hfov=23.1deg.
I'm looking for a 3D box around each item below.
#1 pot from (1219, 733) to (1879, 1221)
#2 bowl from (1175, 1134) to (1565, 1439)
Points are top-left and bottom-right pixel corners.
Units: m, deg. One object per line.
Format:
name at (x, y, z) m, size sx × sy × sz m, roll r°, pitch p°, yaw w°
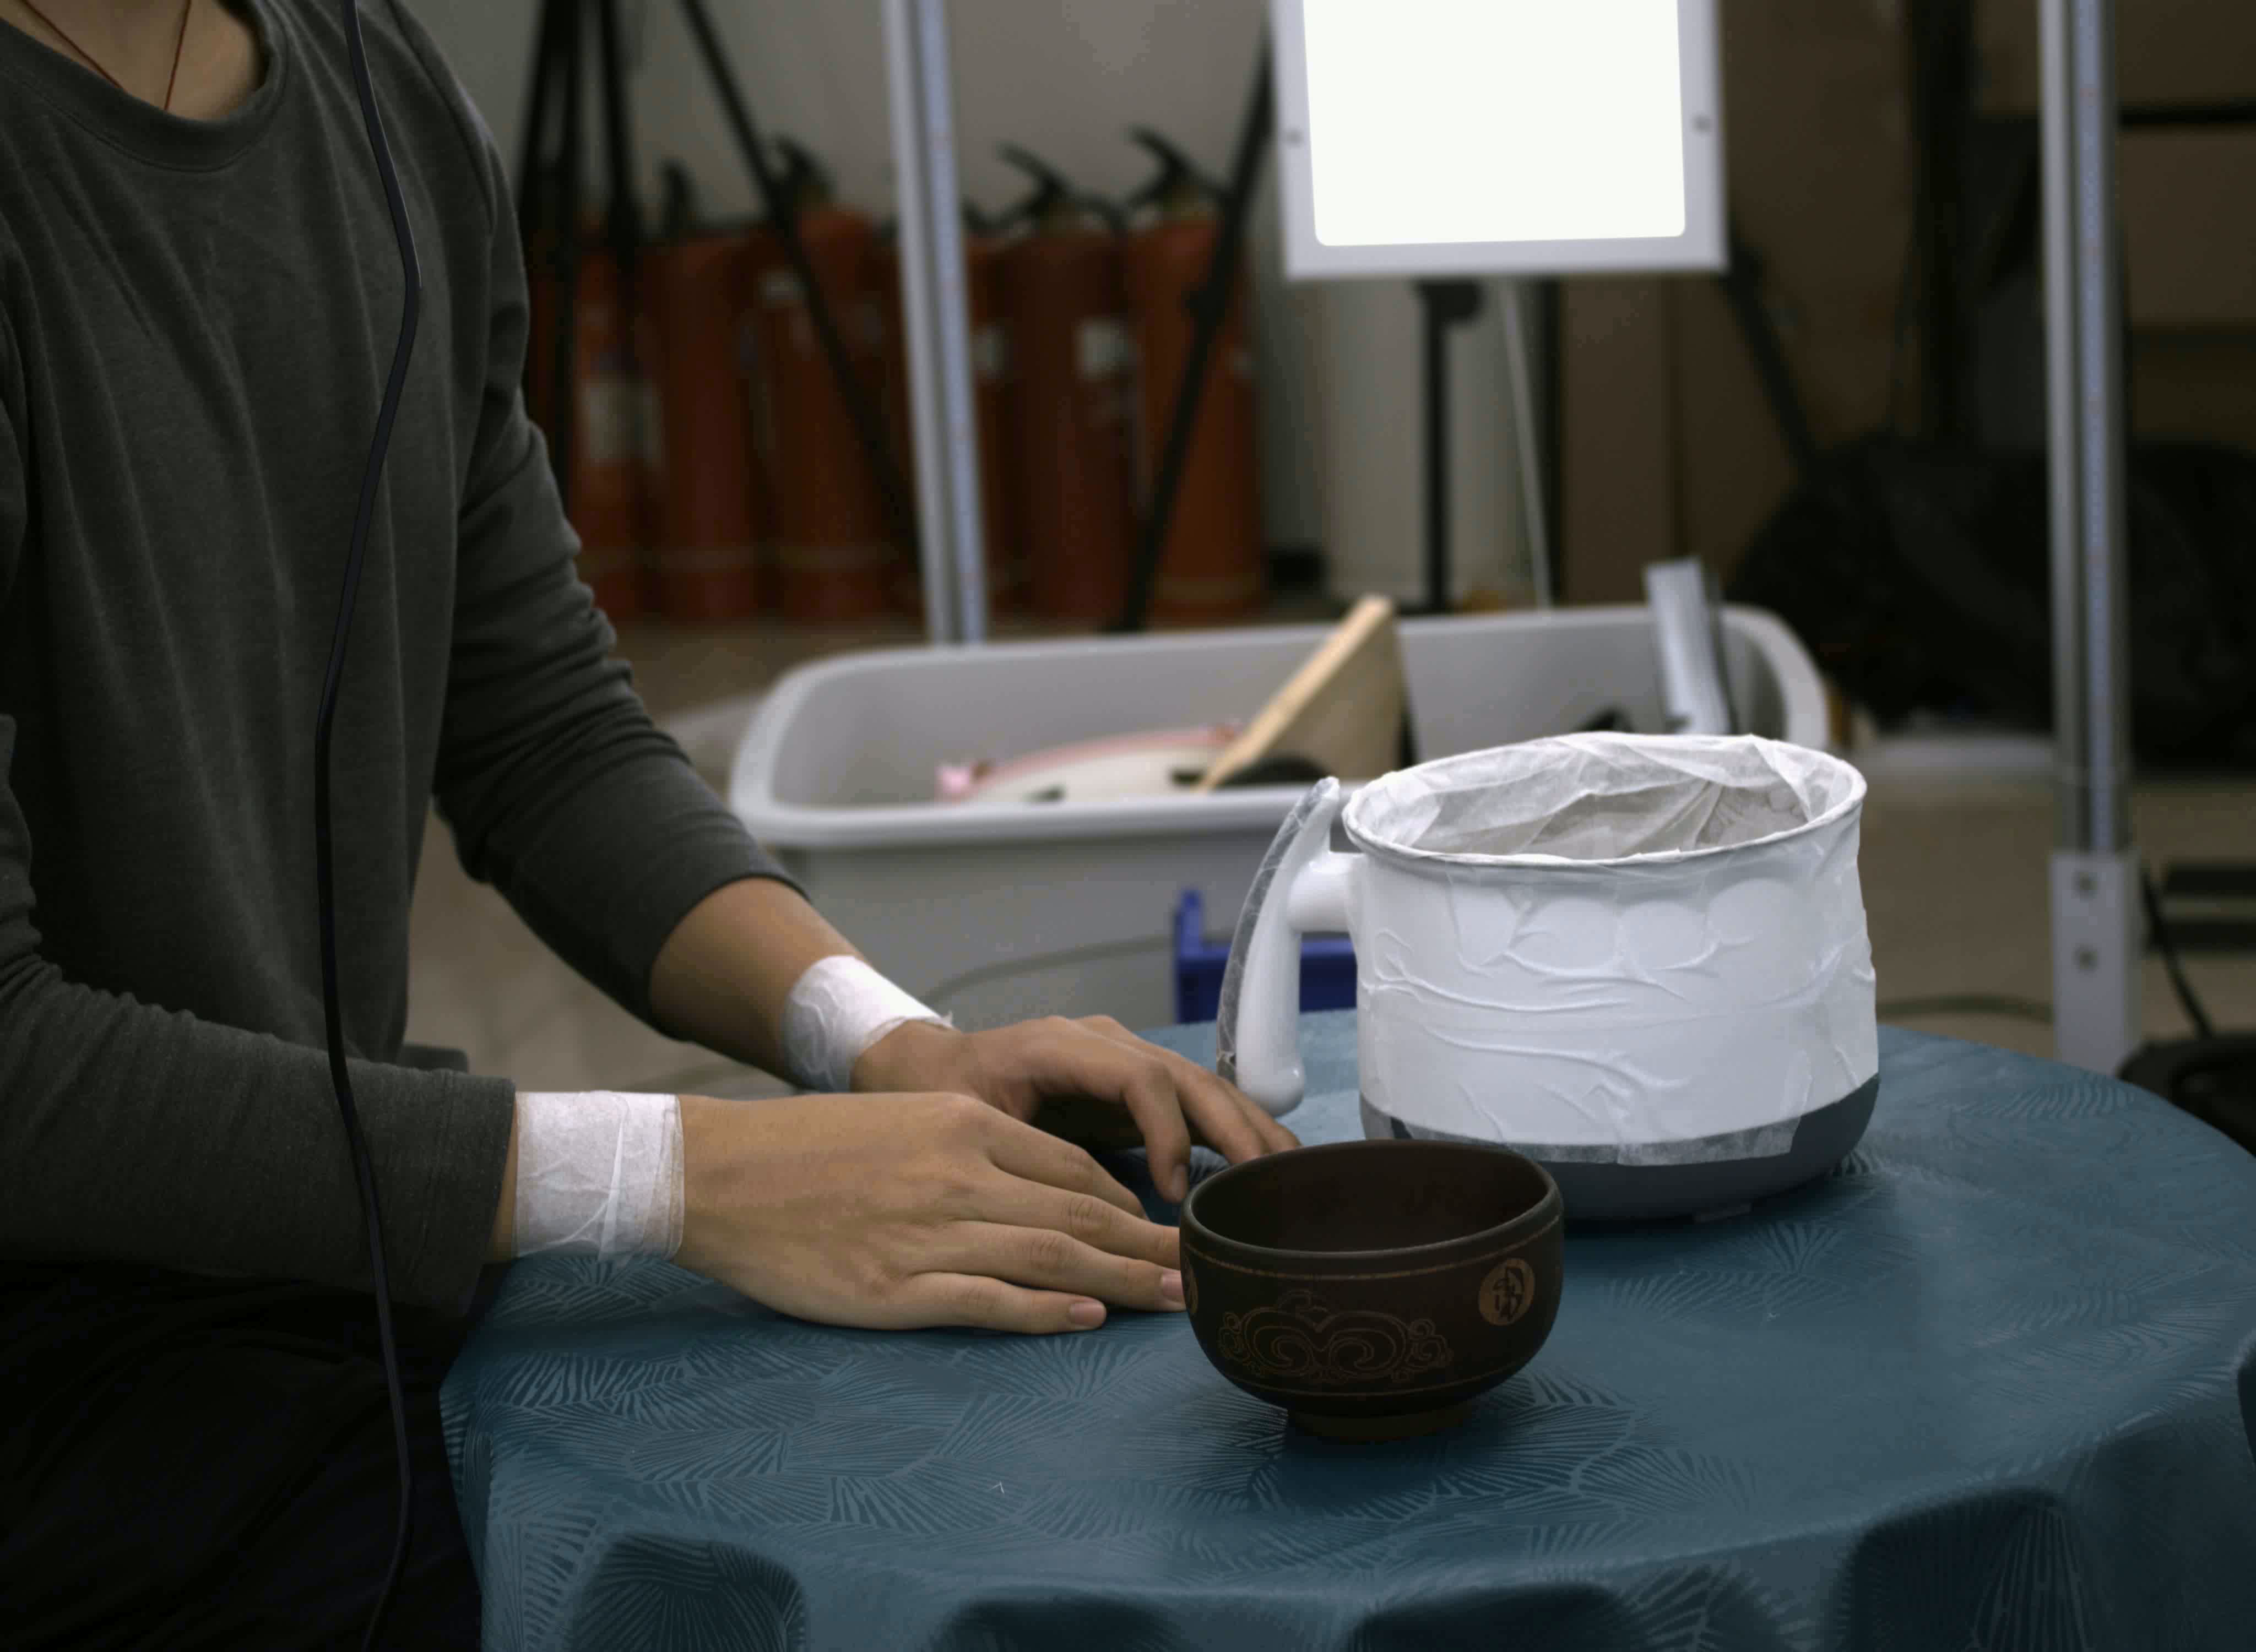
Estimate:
pot at (0.140, 0.051, 1.874) m, size 0.237 × 0.137 × 0.175 m, roll 0°, pitch 14°, yaw 22°
bowl at (0.075, 0.143, 1.659) m, size 0.118 × 0.070 × 0.118 m, roll -7°, pitch 13°, yaw 0°
